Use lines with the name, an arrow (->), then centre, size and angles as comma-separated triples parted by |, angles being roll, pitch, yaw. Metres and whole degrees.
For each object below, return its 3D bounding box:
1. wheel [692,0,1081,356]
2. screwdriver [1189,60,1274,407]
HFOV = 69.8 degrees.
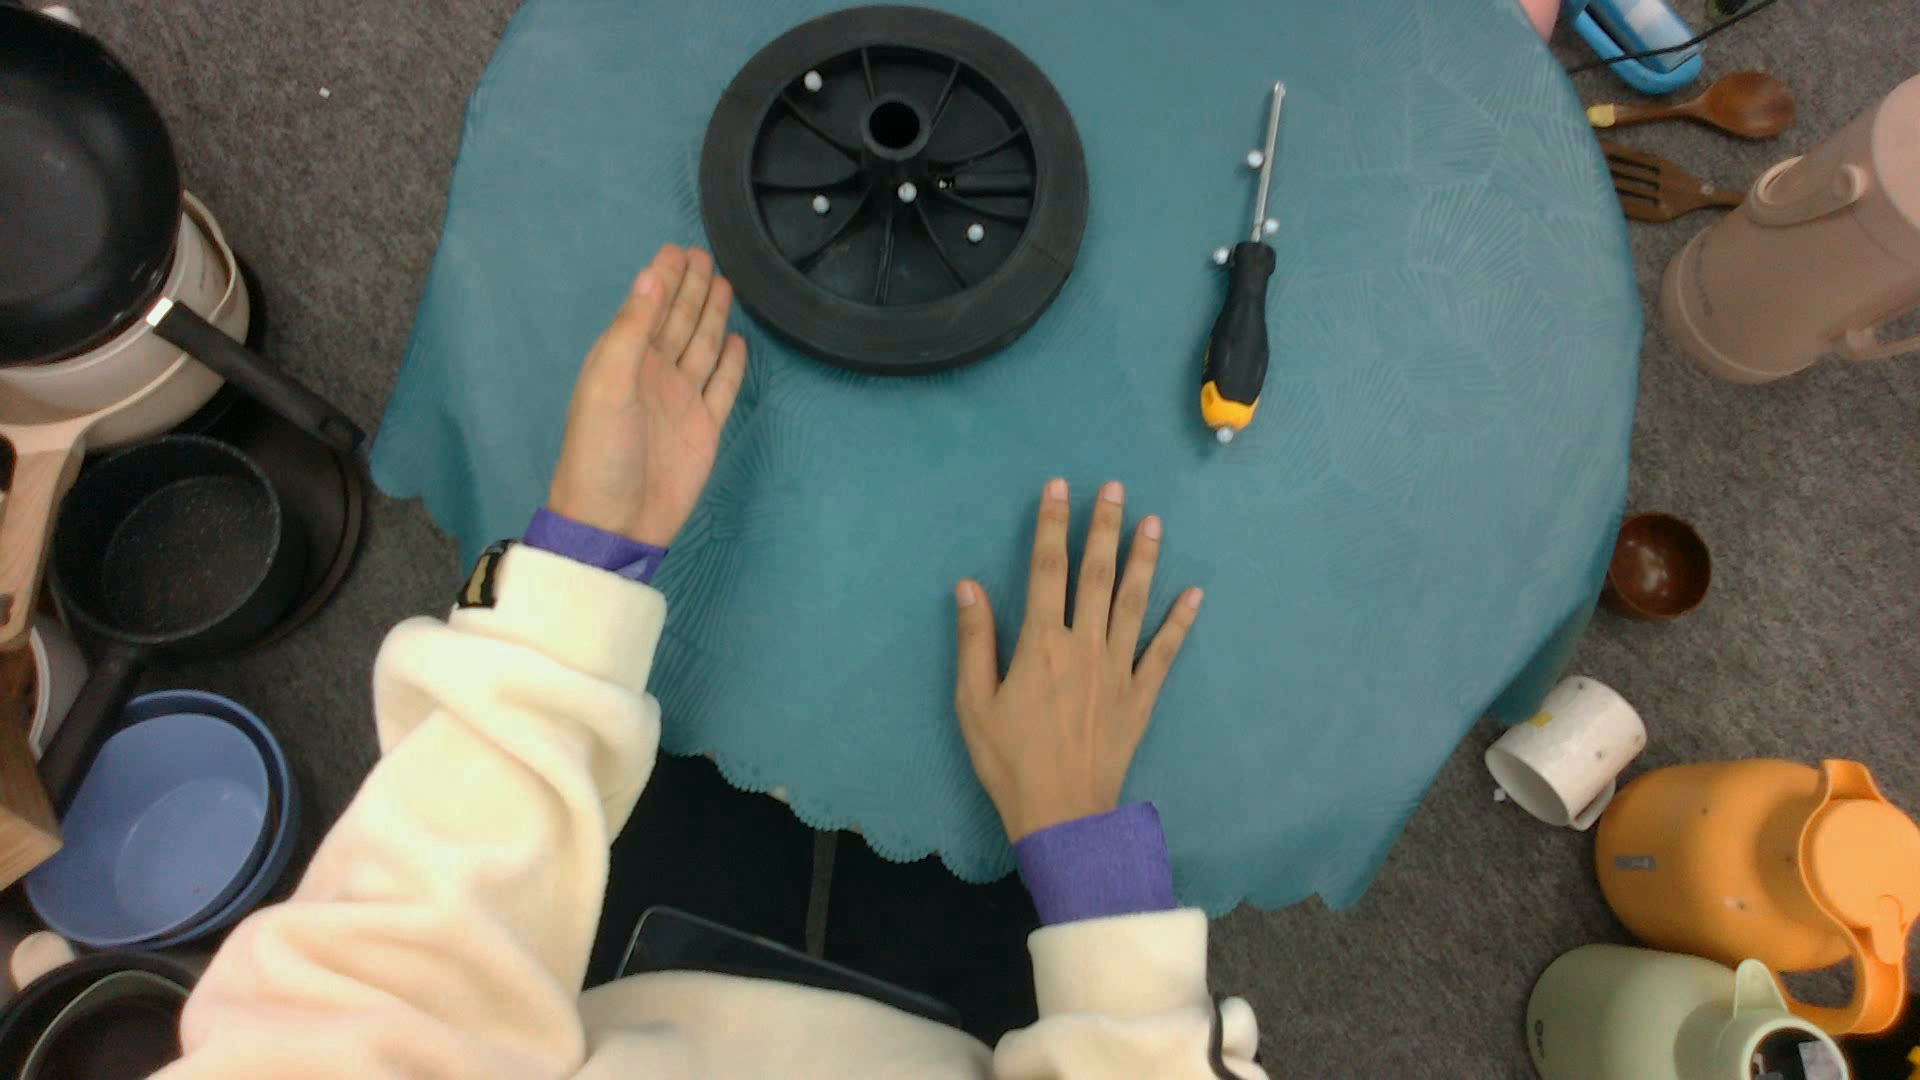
wheel -> -0.032, -0.186, 0.650 | 0.190, 0.079, 0.187 | -26, 82, -11
screwdriver -> 0.138, -0.159, 0.685 | 0.031, 0.031, 0.197 | 10, 74, -3
